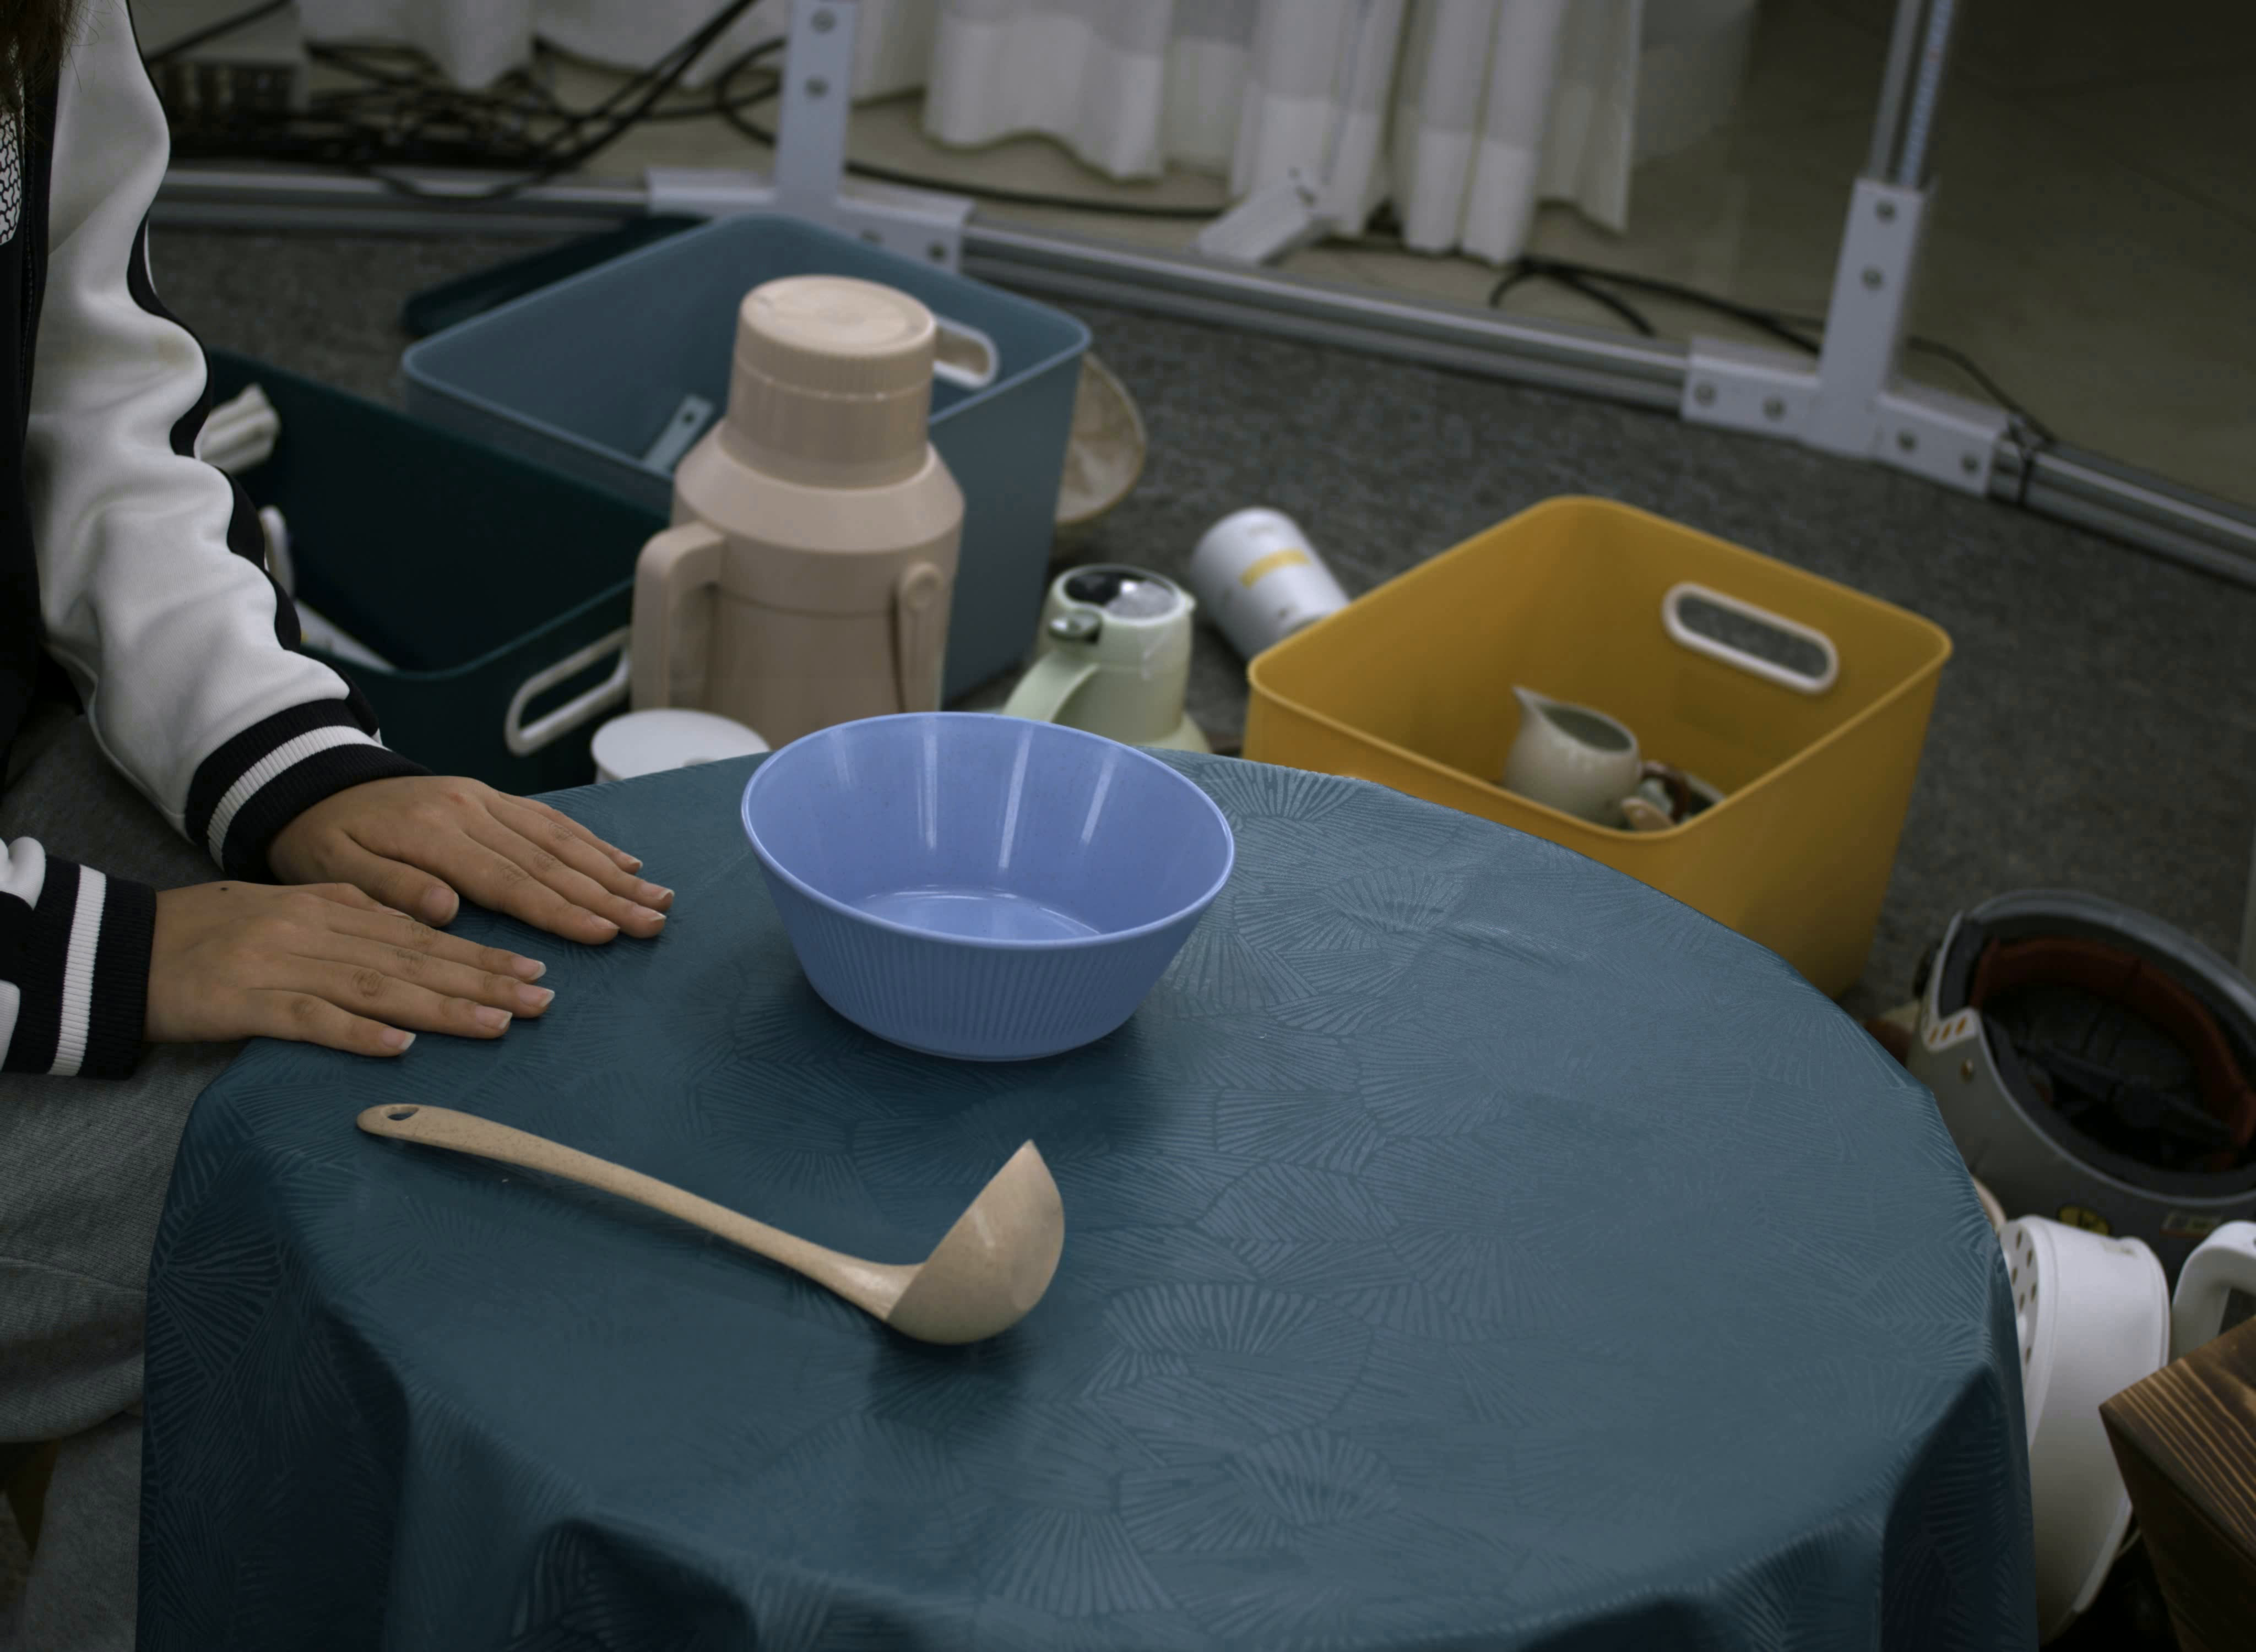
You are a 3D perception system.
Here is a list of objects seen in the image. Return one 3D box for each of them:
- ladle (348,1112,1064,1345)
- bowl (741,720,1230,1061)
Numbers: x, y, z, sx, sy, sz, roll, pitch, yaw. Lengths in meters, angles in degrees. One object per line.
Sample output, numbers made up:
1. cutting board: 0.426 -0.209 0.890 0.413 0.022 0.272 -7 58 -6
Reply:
1. ladle: -0.143 0.104 1.728 0.255 0.072 0.072 16 33 19
2. bowl: -0.054 0.028 1.900 0.175 0.070 0.177 6 26 -3
